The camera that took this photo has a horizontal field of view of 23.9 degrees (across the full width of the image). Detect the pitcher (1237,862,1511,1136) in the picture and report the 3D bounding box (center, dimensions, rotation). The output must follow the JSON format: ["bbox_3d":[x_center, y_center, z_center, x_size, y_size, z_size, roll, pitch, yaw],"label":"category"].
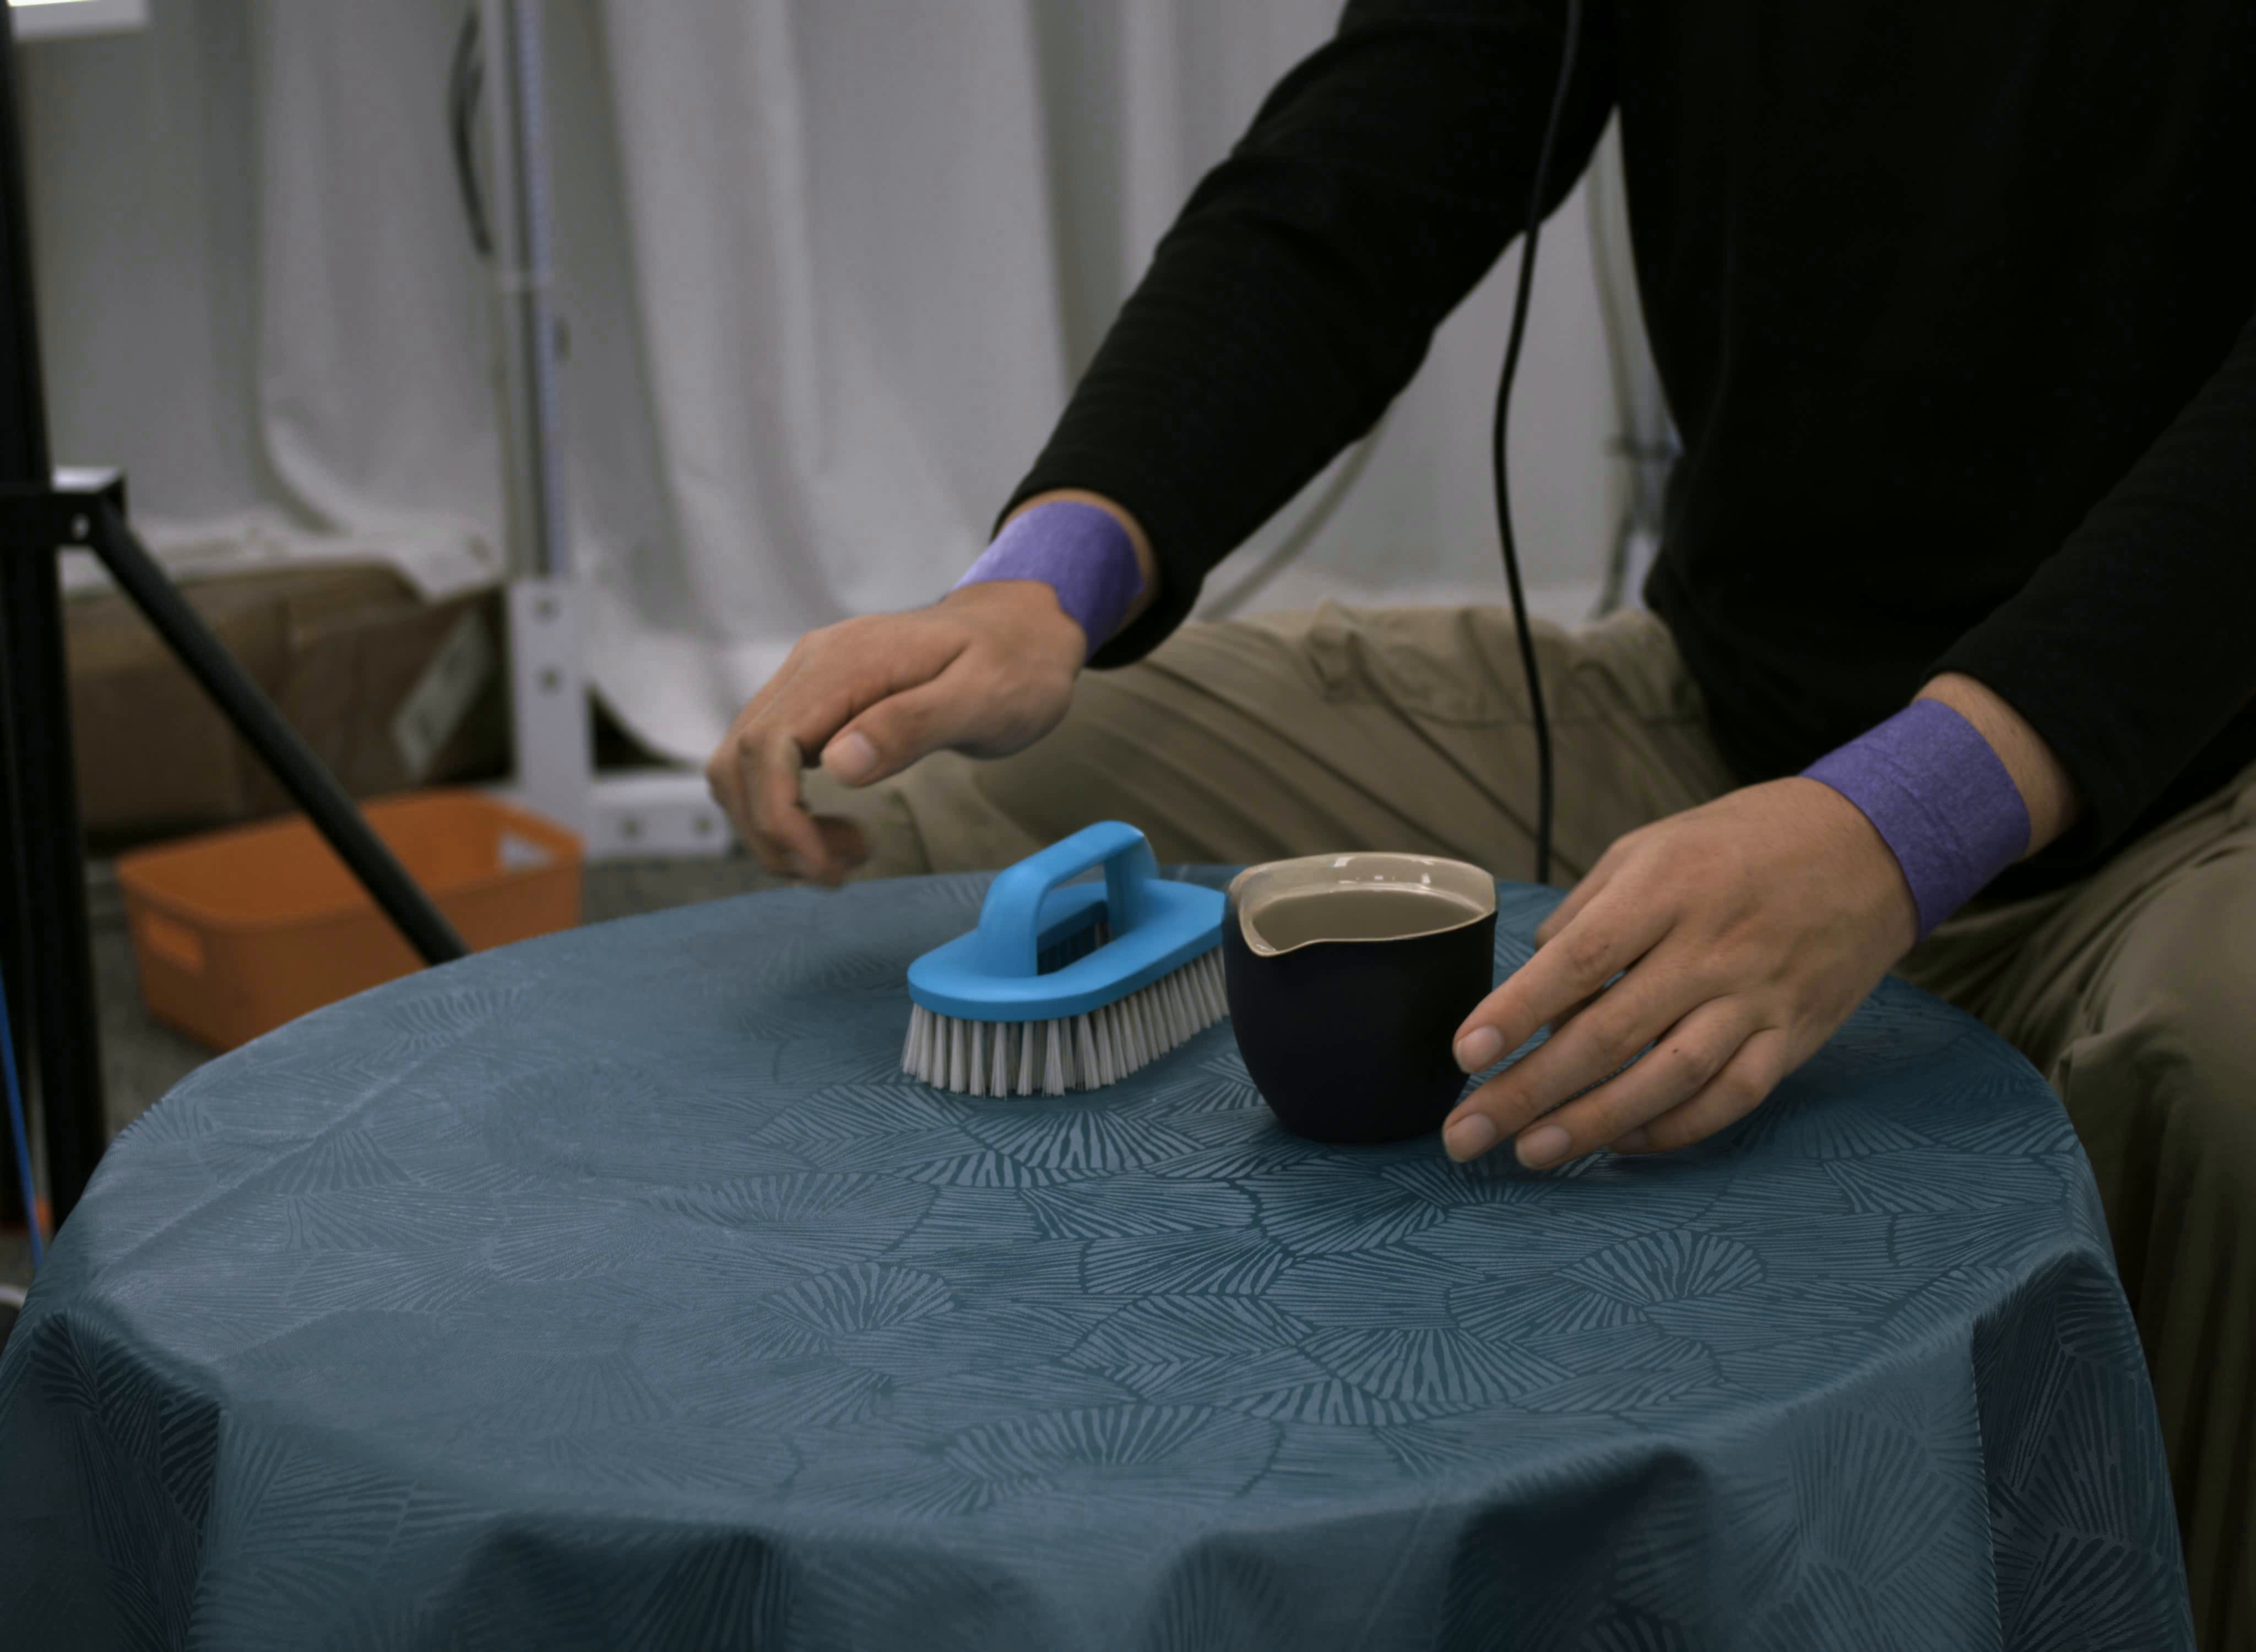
[{"bbox_3d":[0.072,0.054,1.602,0.085,0.071,0.094,12,22,39],"label":"pitcher"}]

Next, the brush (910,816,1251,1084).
[{"bbox_3d":[-0.015,0.034,1.700,0.086,0.064,0.139,2,15,32],"label":"brush"}]
